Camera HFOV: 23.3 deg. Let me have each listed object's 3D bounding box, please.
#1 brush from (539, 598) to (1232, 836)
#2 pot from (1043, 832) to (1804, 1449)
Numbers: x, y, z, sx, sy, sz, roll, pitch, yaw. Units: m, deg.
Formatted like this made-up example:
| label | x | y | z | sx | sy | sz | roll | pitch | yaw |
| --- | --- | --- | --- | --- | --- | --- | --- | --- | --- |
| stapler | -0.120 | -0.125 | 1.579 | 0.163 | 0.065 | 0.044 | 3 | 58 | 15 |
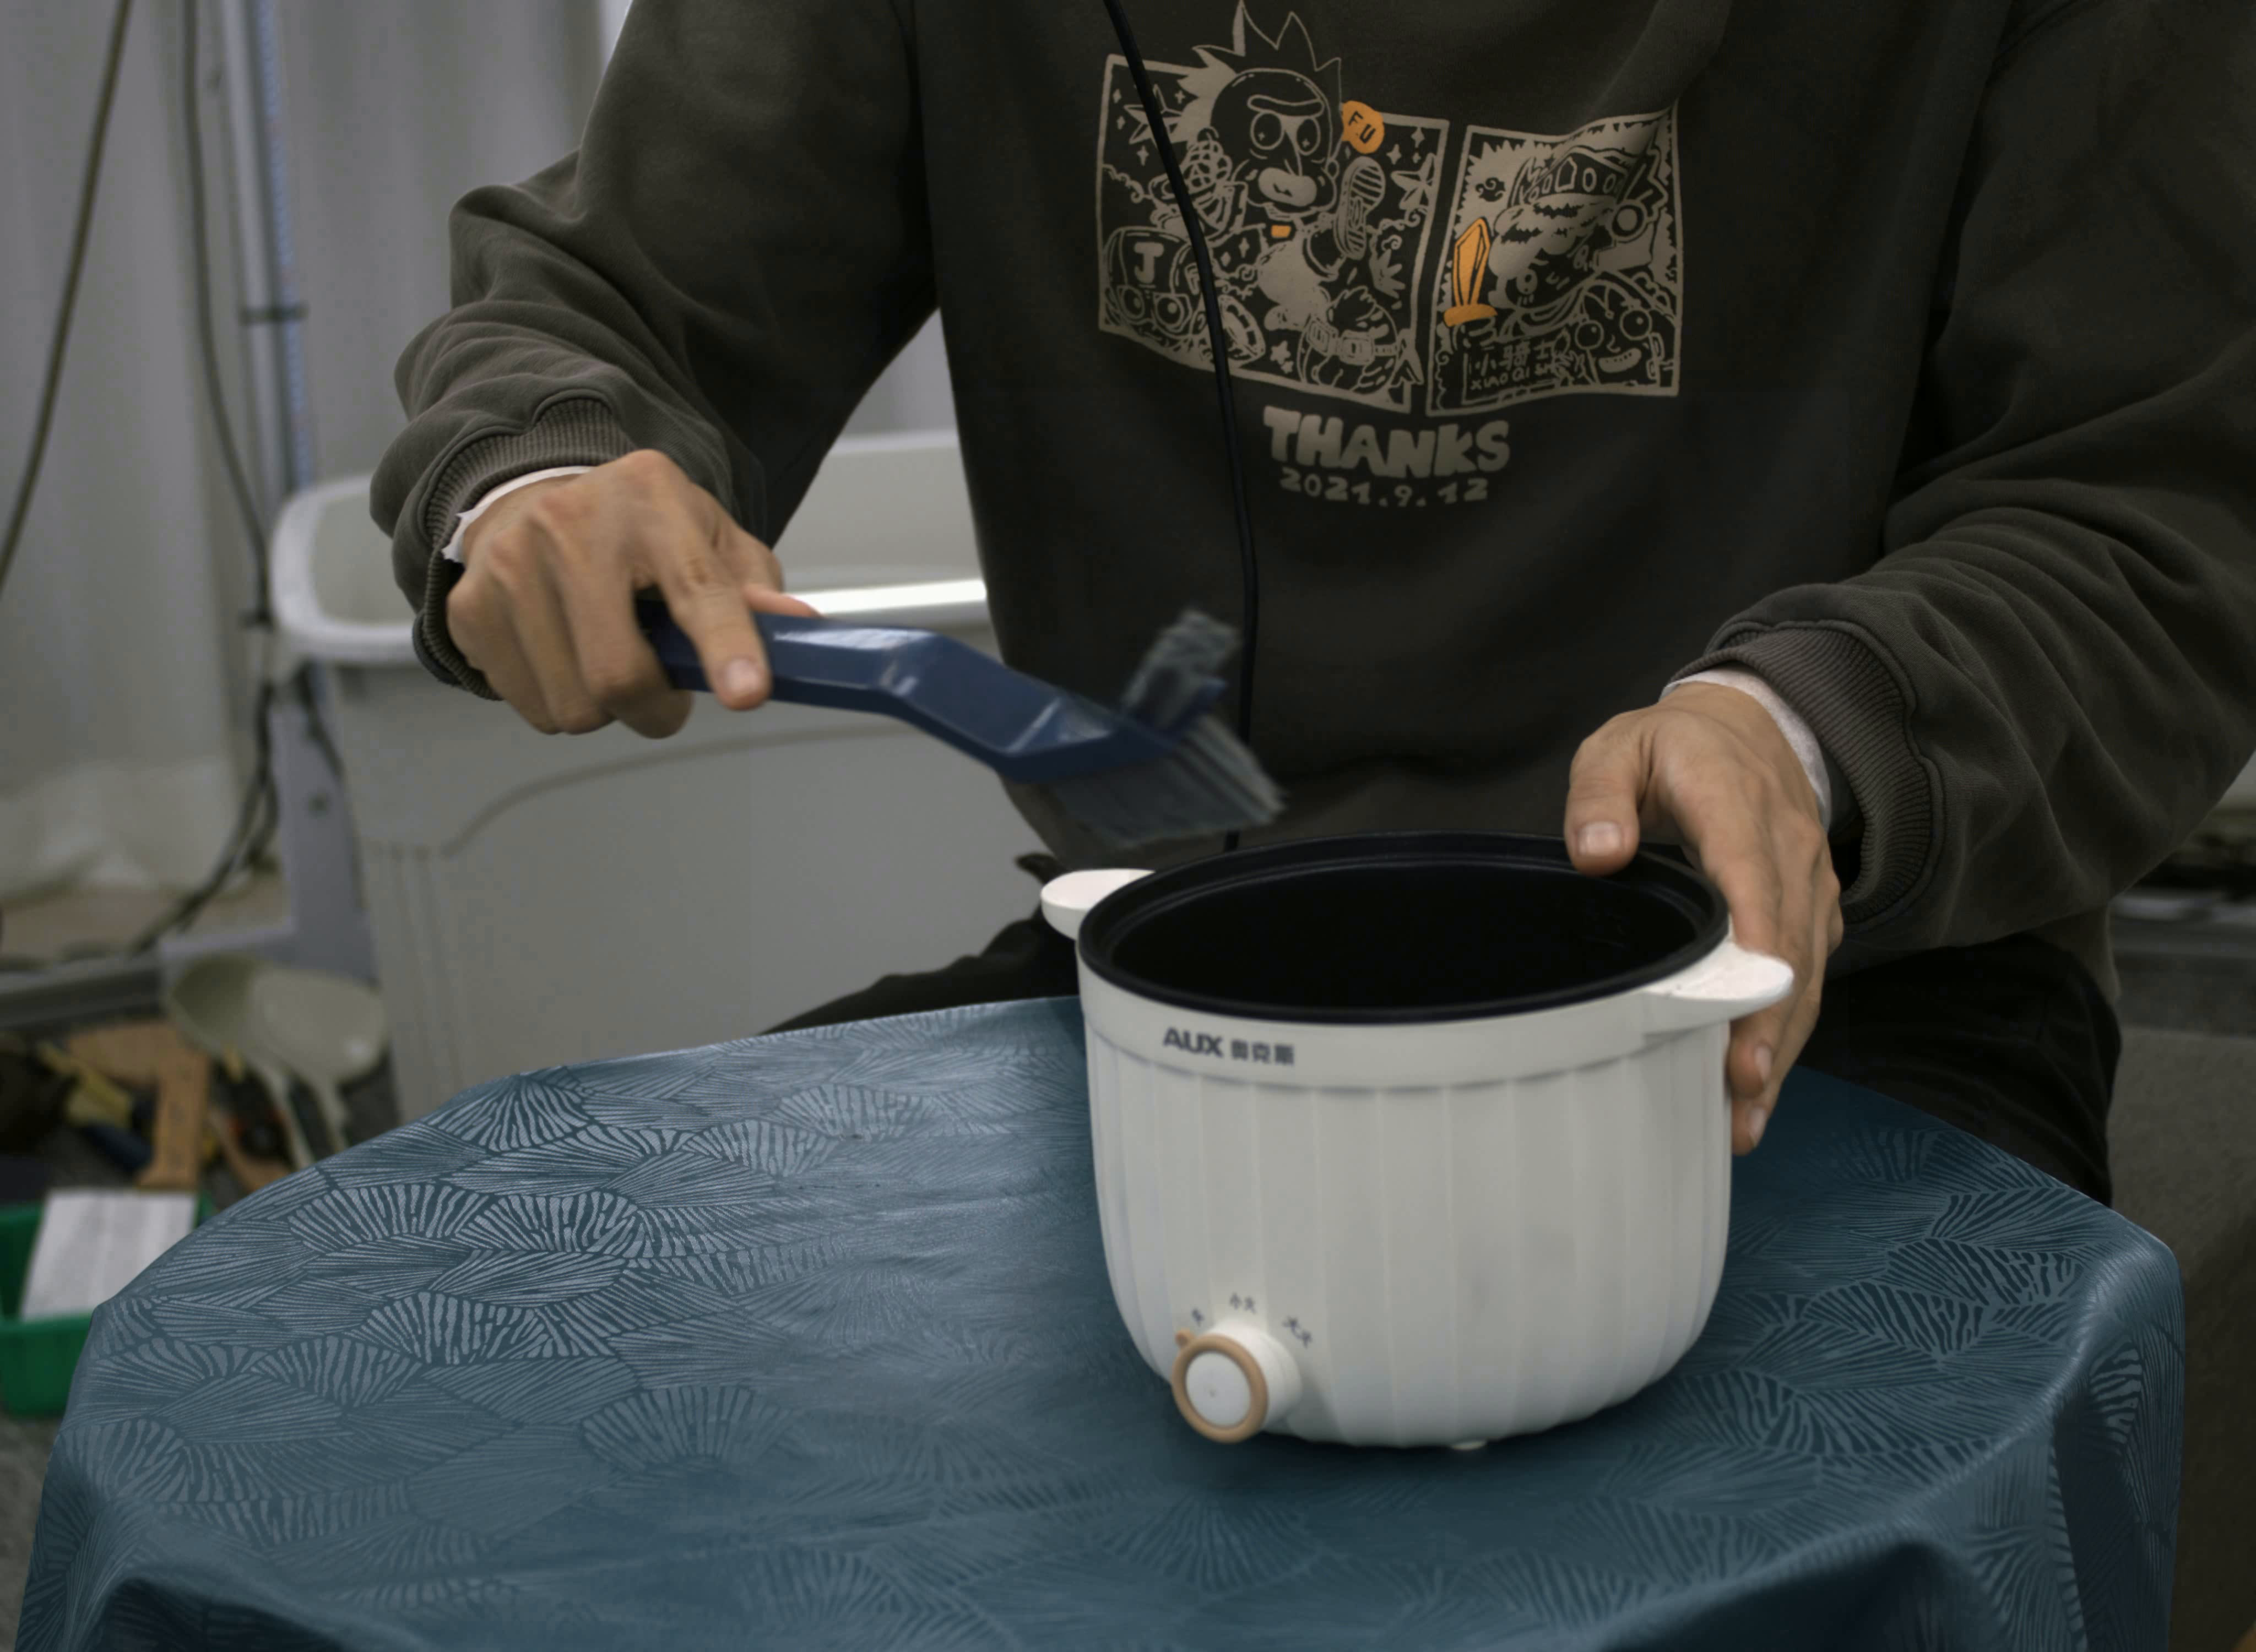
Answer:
| label | x | y | z | sx | sy | sz | roll | pitch | yaw |
| --- | --- | --- | --- | --- | --- | --- | --- | --- | --- |
| brush | -0.075 | -0.047 | 1.489 | 0.275 | 0.094 | 0.034 | 15 | 57 | 41 |
| pot | 0.078 | 0.091 | 1.530 | 0.241 | 0.142 | 0.190 | 6 | 14 | 34 |
